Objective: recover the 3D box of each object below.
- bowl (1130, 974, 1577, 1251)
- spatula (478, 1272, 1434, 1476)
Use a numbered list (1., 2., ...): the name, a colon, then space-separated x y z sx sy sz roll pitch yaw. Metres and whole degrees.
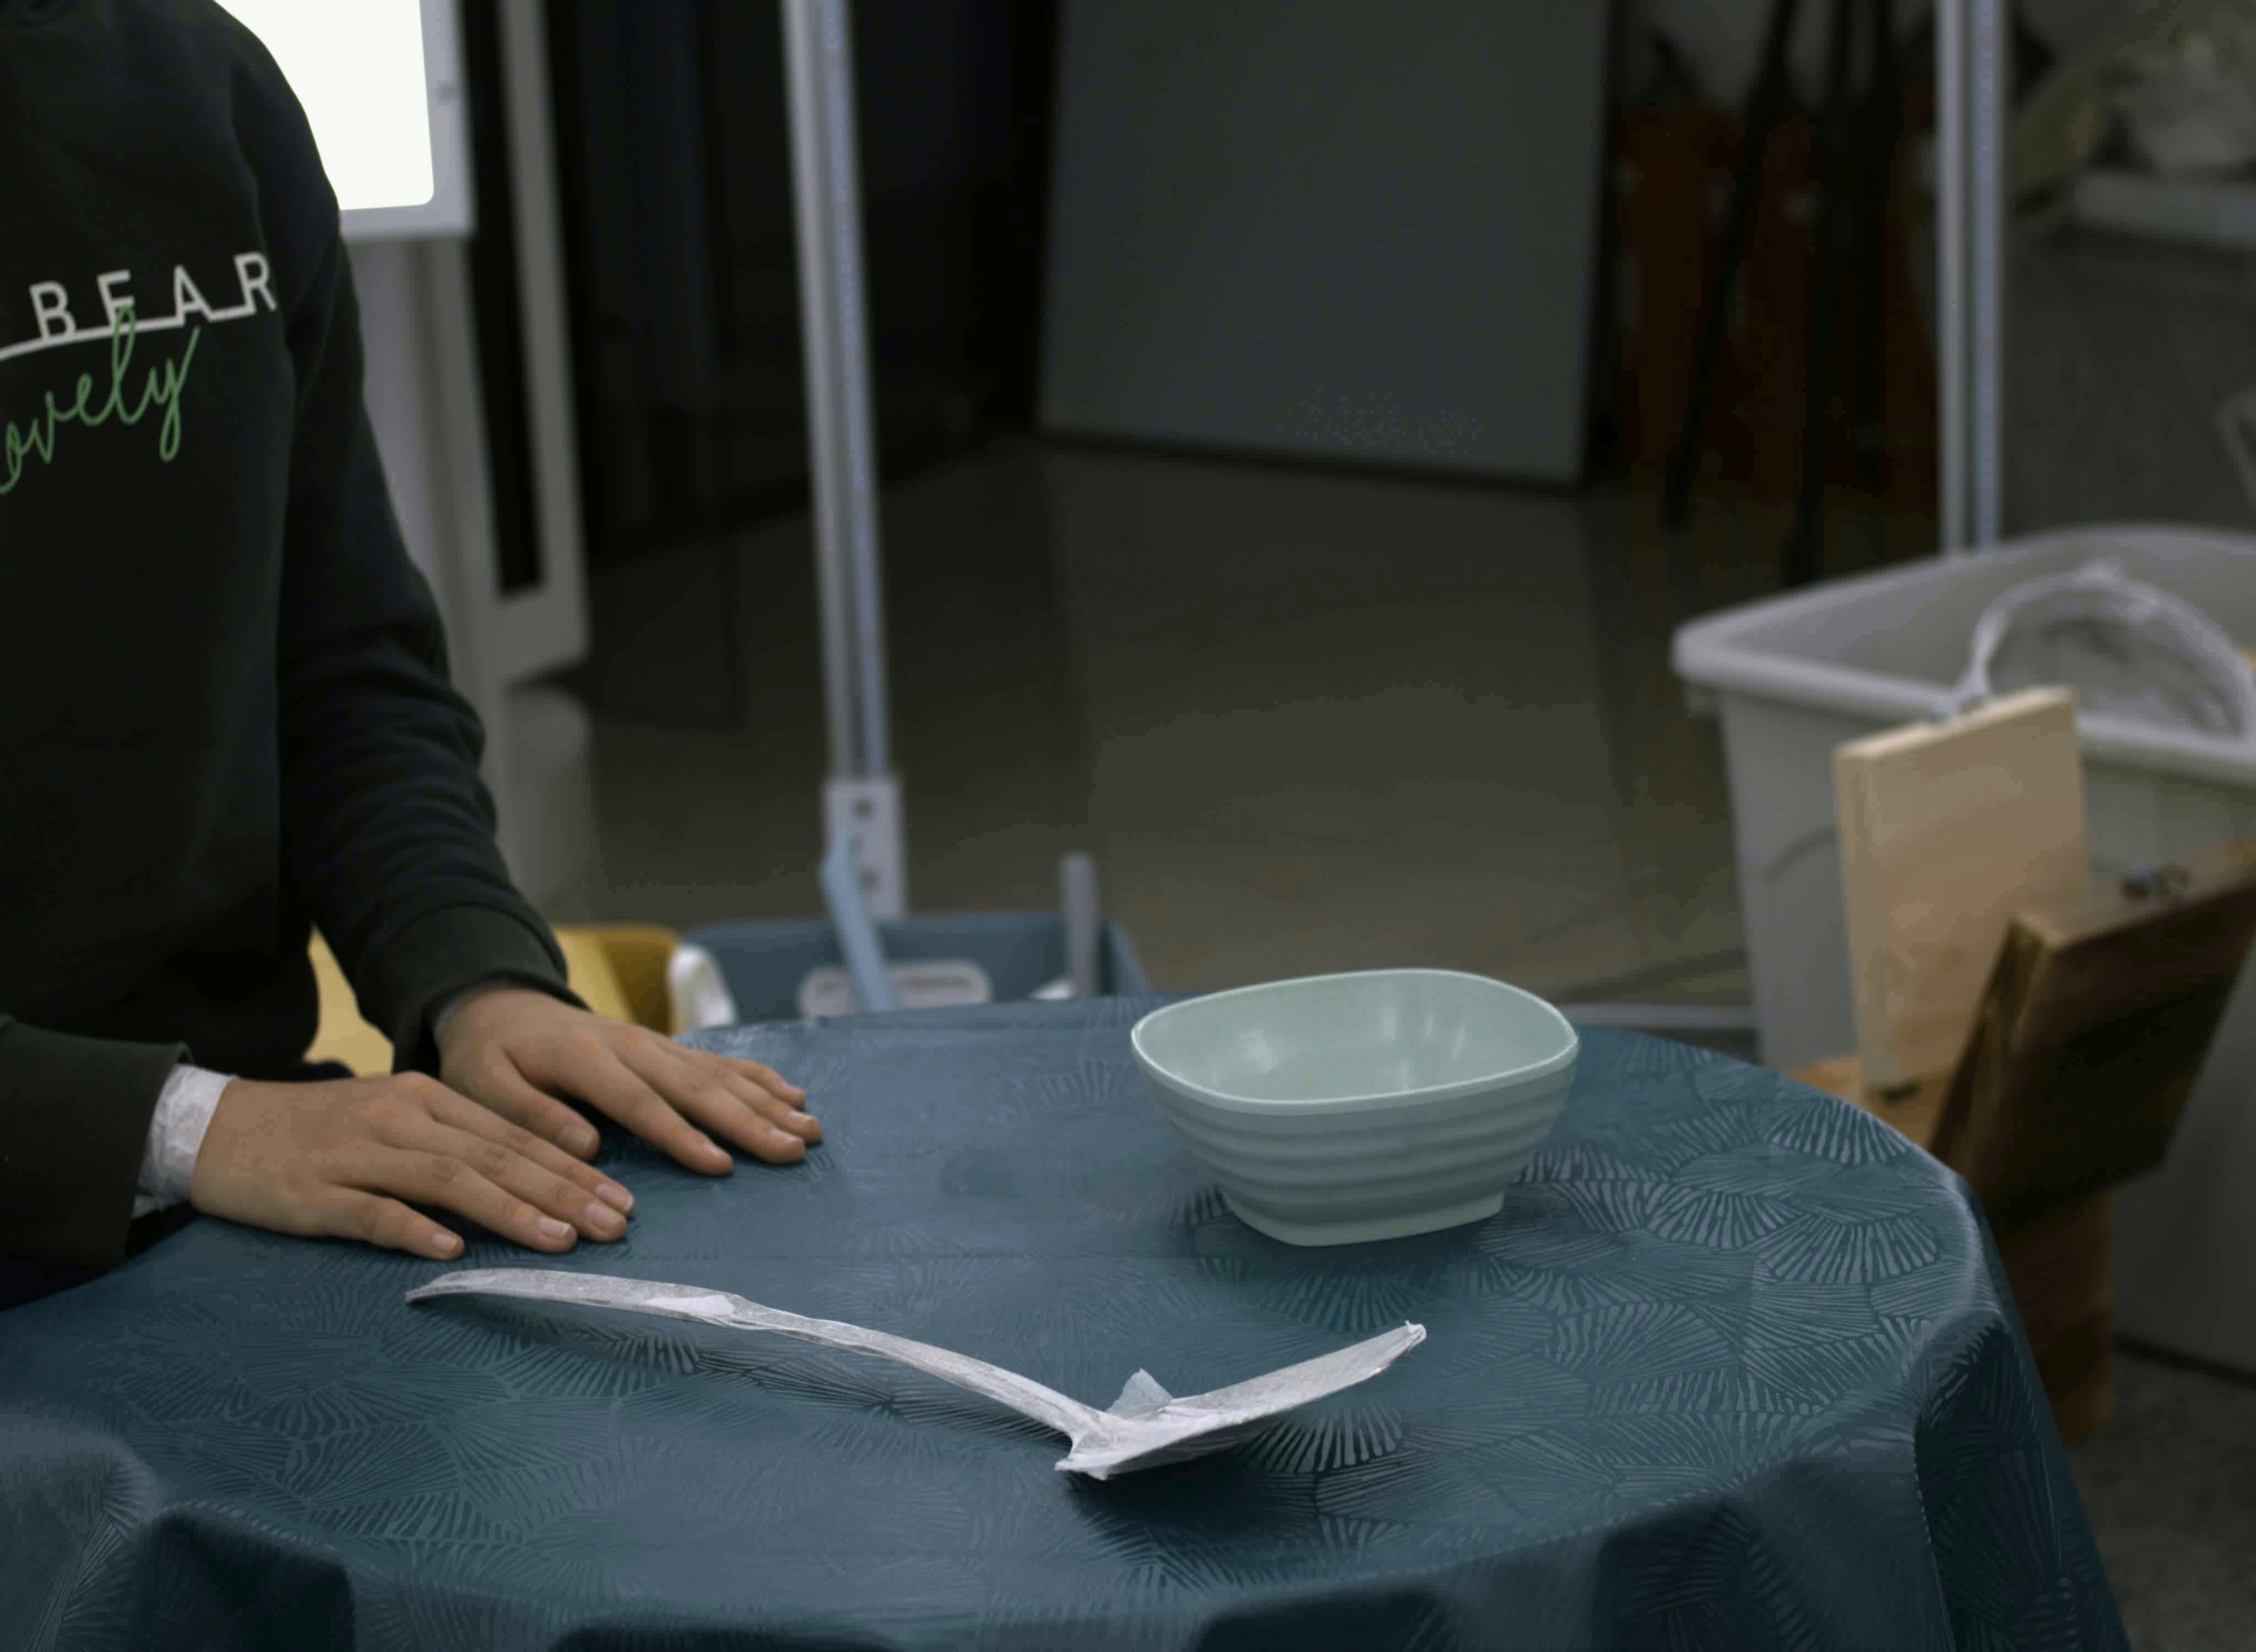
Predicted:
1. bowl: 0.072 0.095 1.739 0.149 0.059 0.152 -1 14 -1
2. spatula: -0.071 0.150 1.596 0.368 0.045 0.097 8 20 39
